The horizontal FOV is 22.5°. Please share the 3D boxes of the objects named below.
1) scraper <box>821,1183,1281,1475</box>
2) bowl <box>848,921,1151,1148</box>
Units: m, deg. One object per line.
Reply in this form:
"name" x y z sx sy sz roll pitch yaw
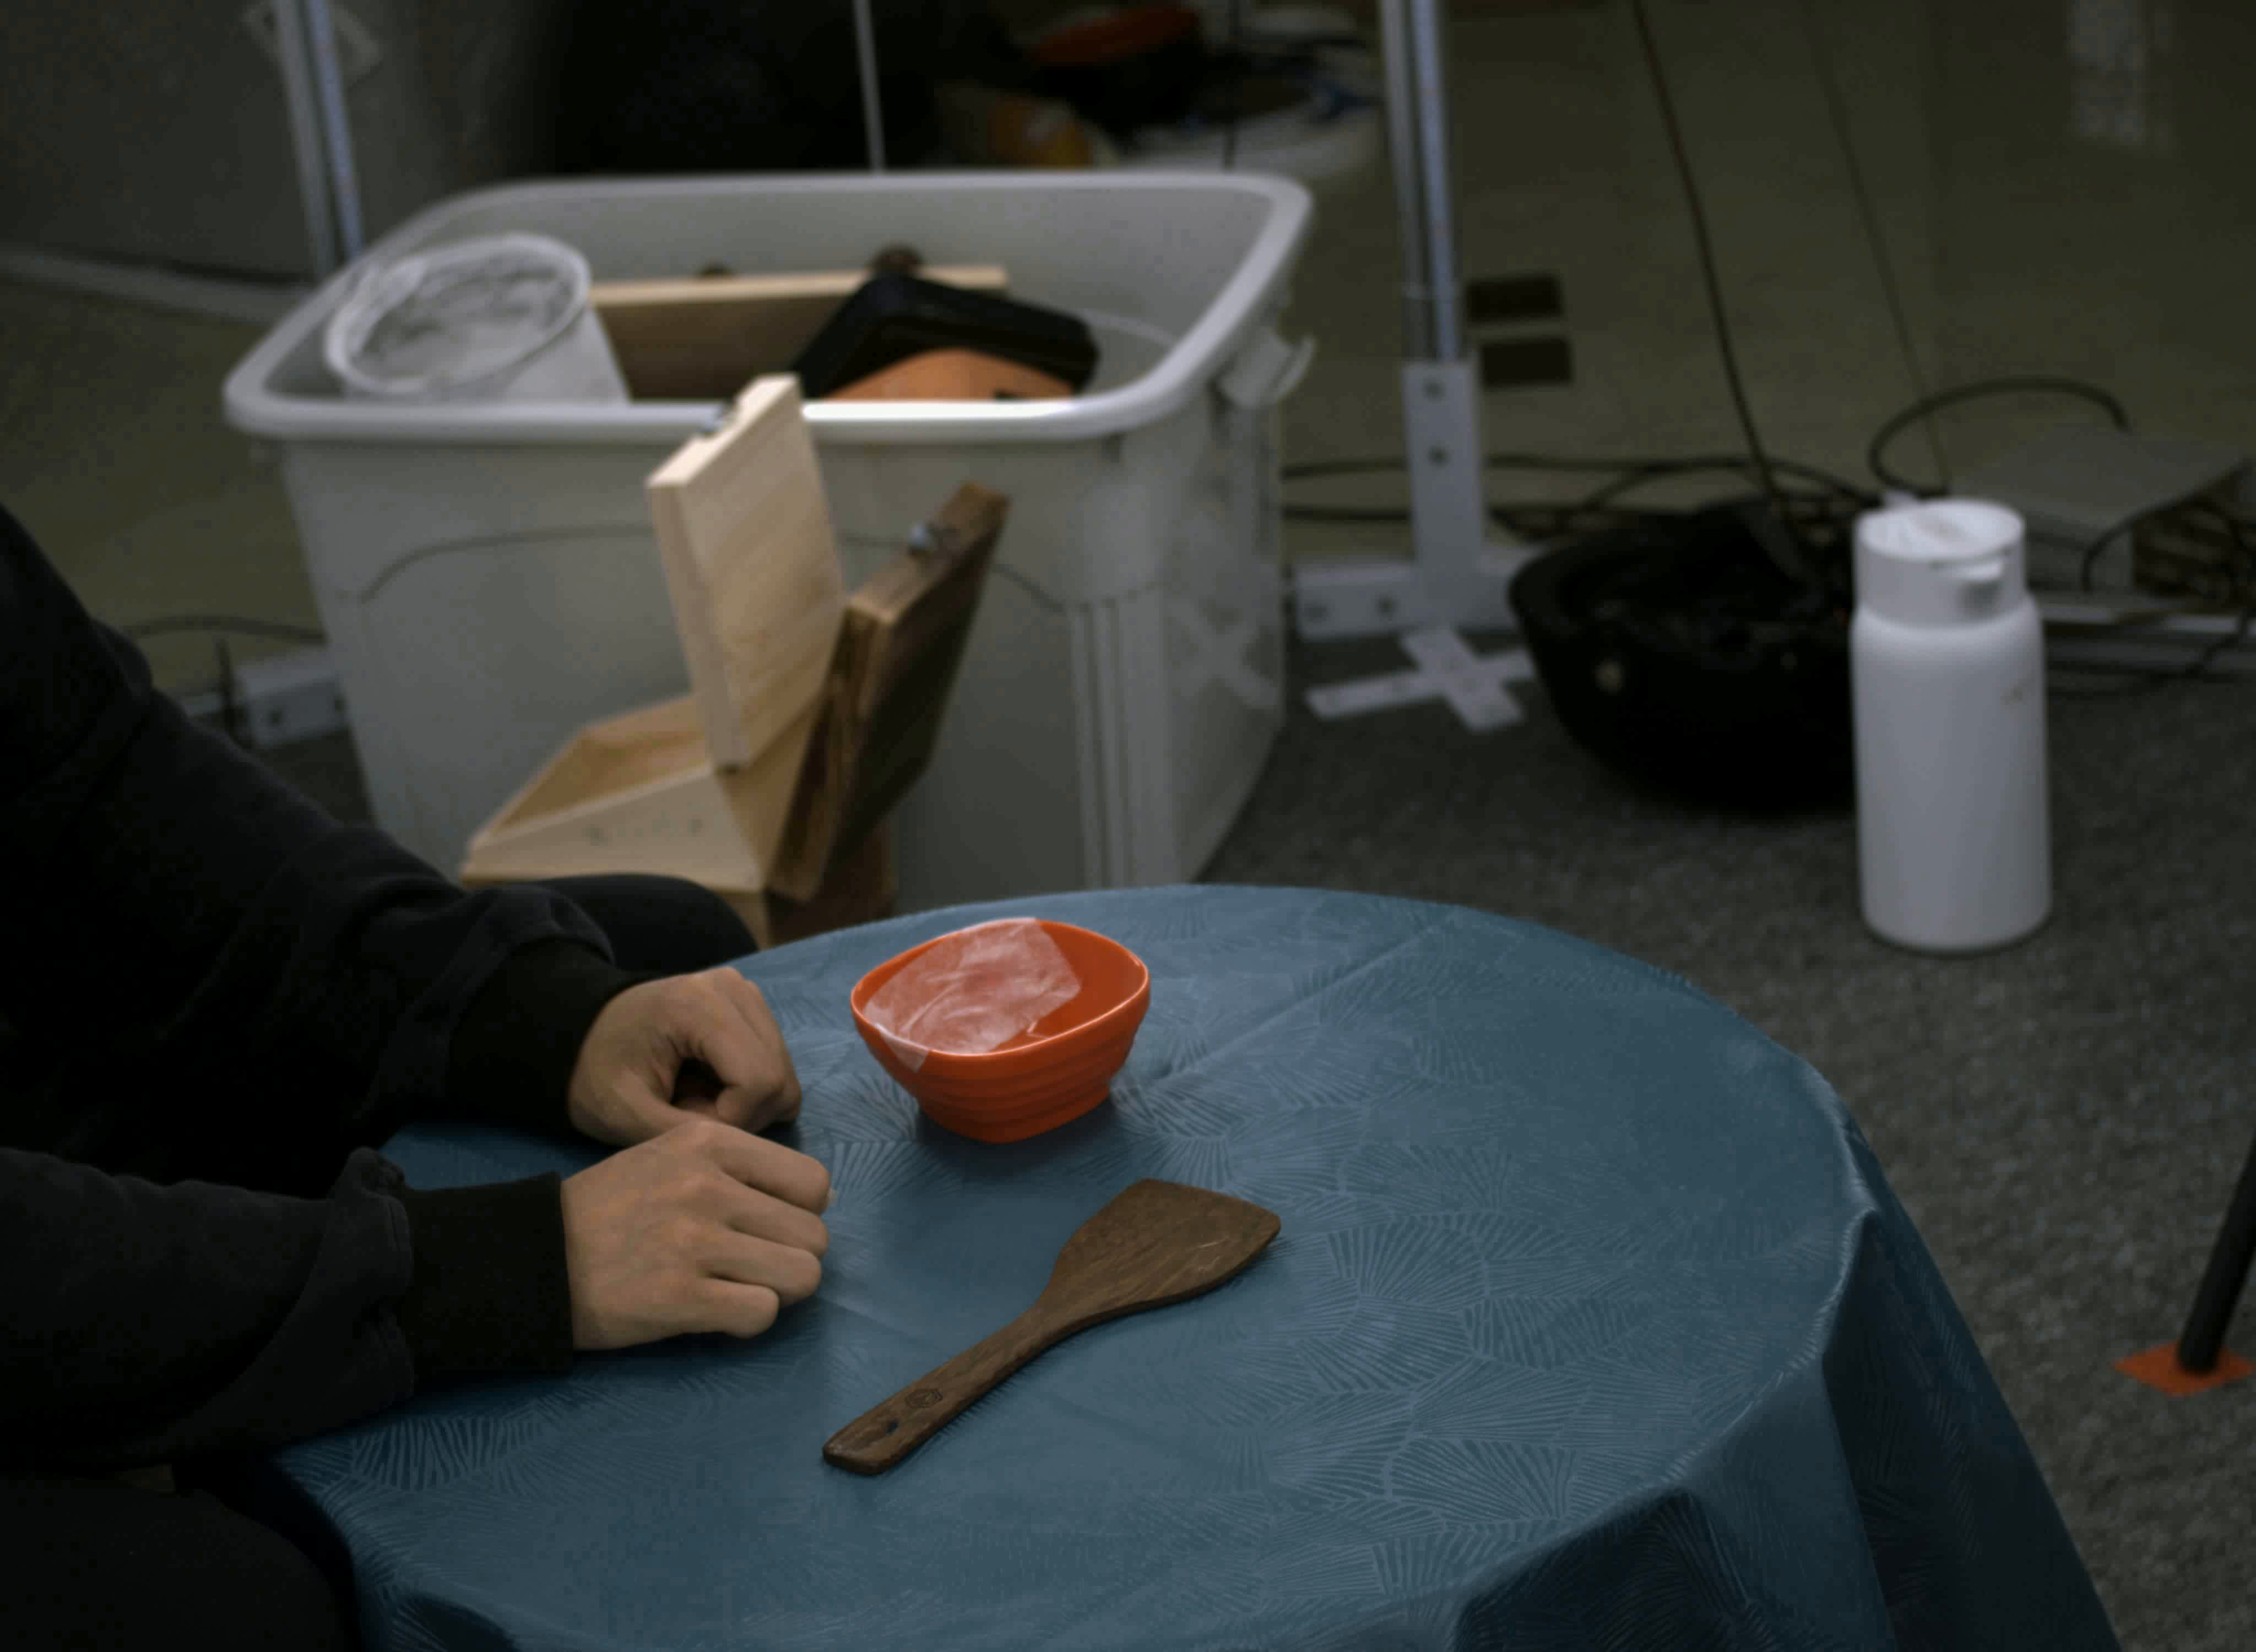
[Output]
"scraper" -0.033 0.183 2.057 0.075 0.011 0.209 14 32 39
"bowl" -0.048 0.086 2.220 0.119 0.052 0.117 -4 26 2
